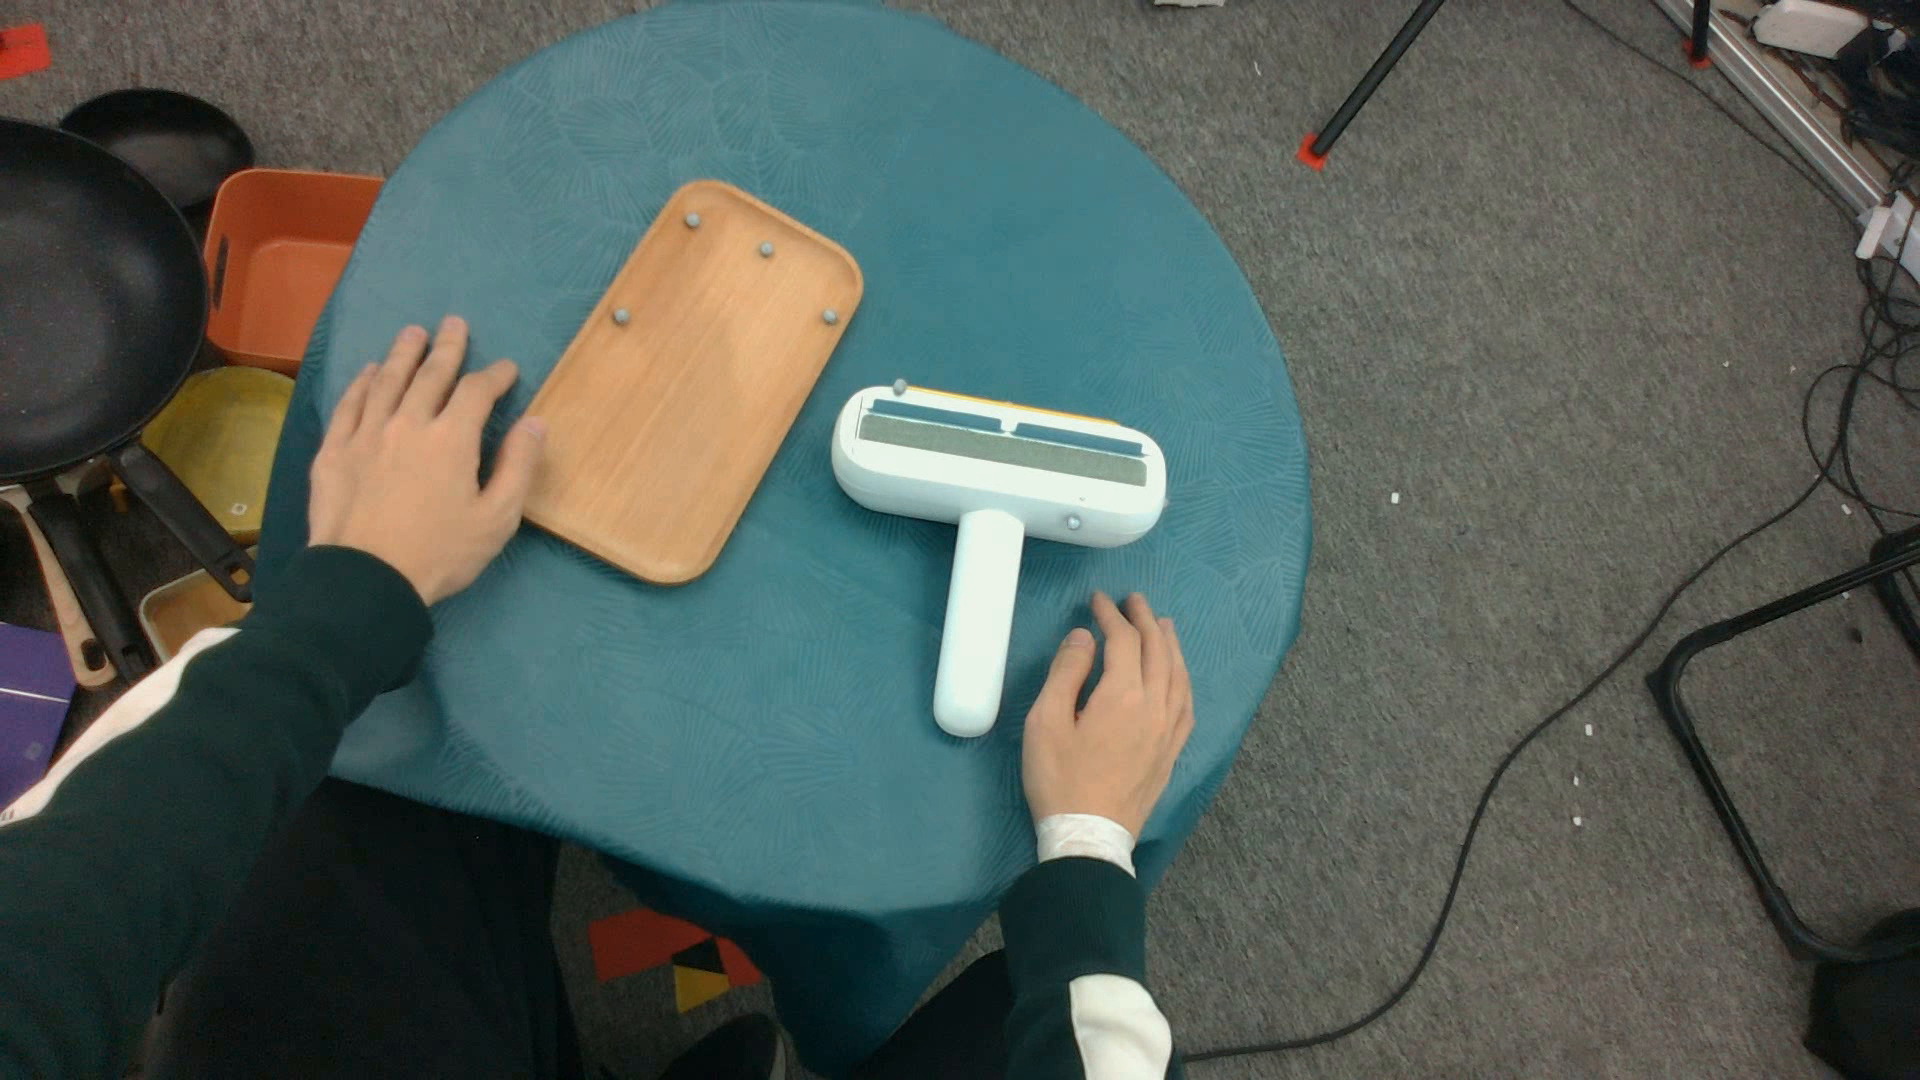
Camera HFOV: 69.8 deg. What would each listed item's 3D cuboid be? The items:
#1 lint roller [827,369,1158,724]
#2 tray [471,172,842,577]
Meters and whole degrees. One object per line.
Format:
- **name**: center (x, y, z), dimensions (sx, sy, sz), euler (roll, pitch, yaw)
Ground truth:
- **lint roller**: center (0.004, 0.010, 0.791), dimensions (0.193, 0.074, 0.193), euler (15, 78, -6)
- **tray**: center (-0.166, -0.100, 0.786), dimensions (0.130, 0.023, 0.252), euler (27, 62, -5)
